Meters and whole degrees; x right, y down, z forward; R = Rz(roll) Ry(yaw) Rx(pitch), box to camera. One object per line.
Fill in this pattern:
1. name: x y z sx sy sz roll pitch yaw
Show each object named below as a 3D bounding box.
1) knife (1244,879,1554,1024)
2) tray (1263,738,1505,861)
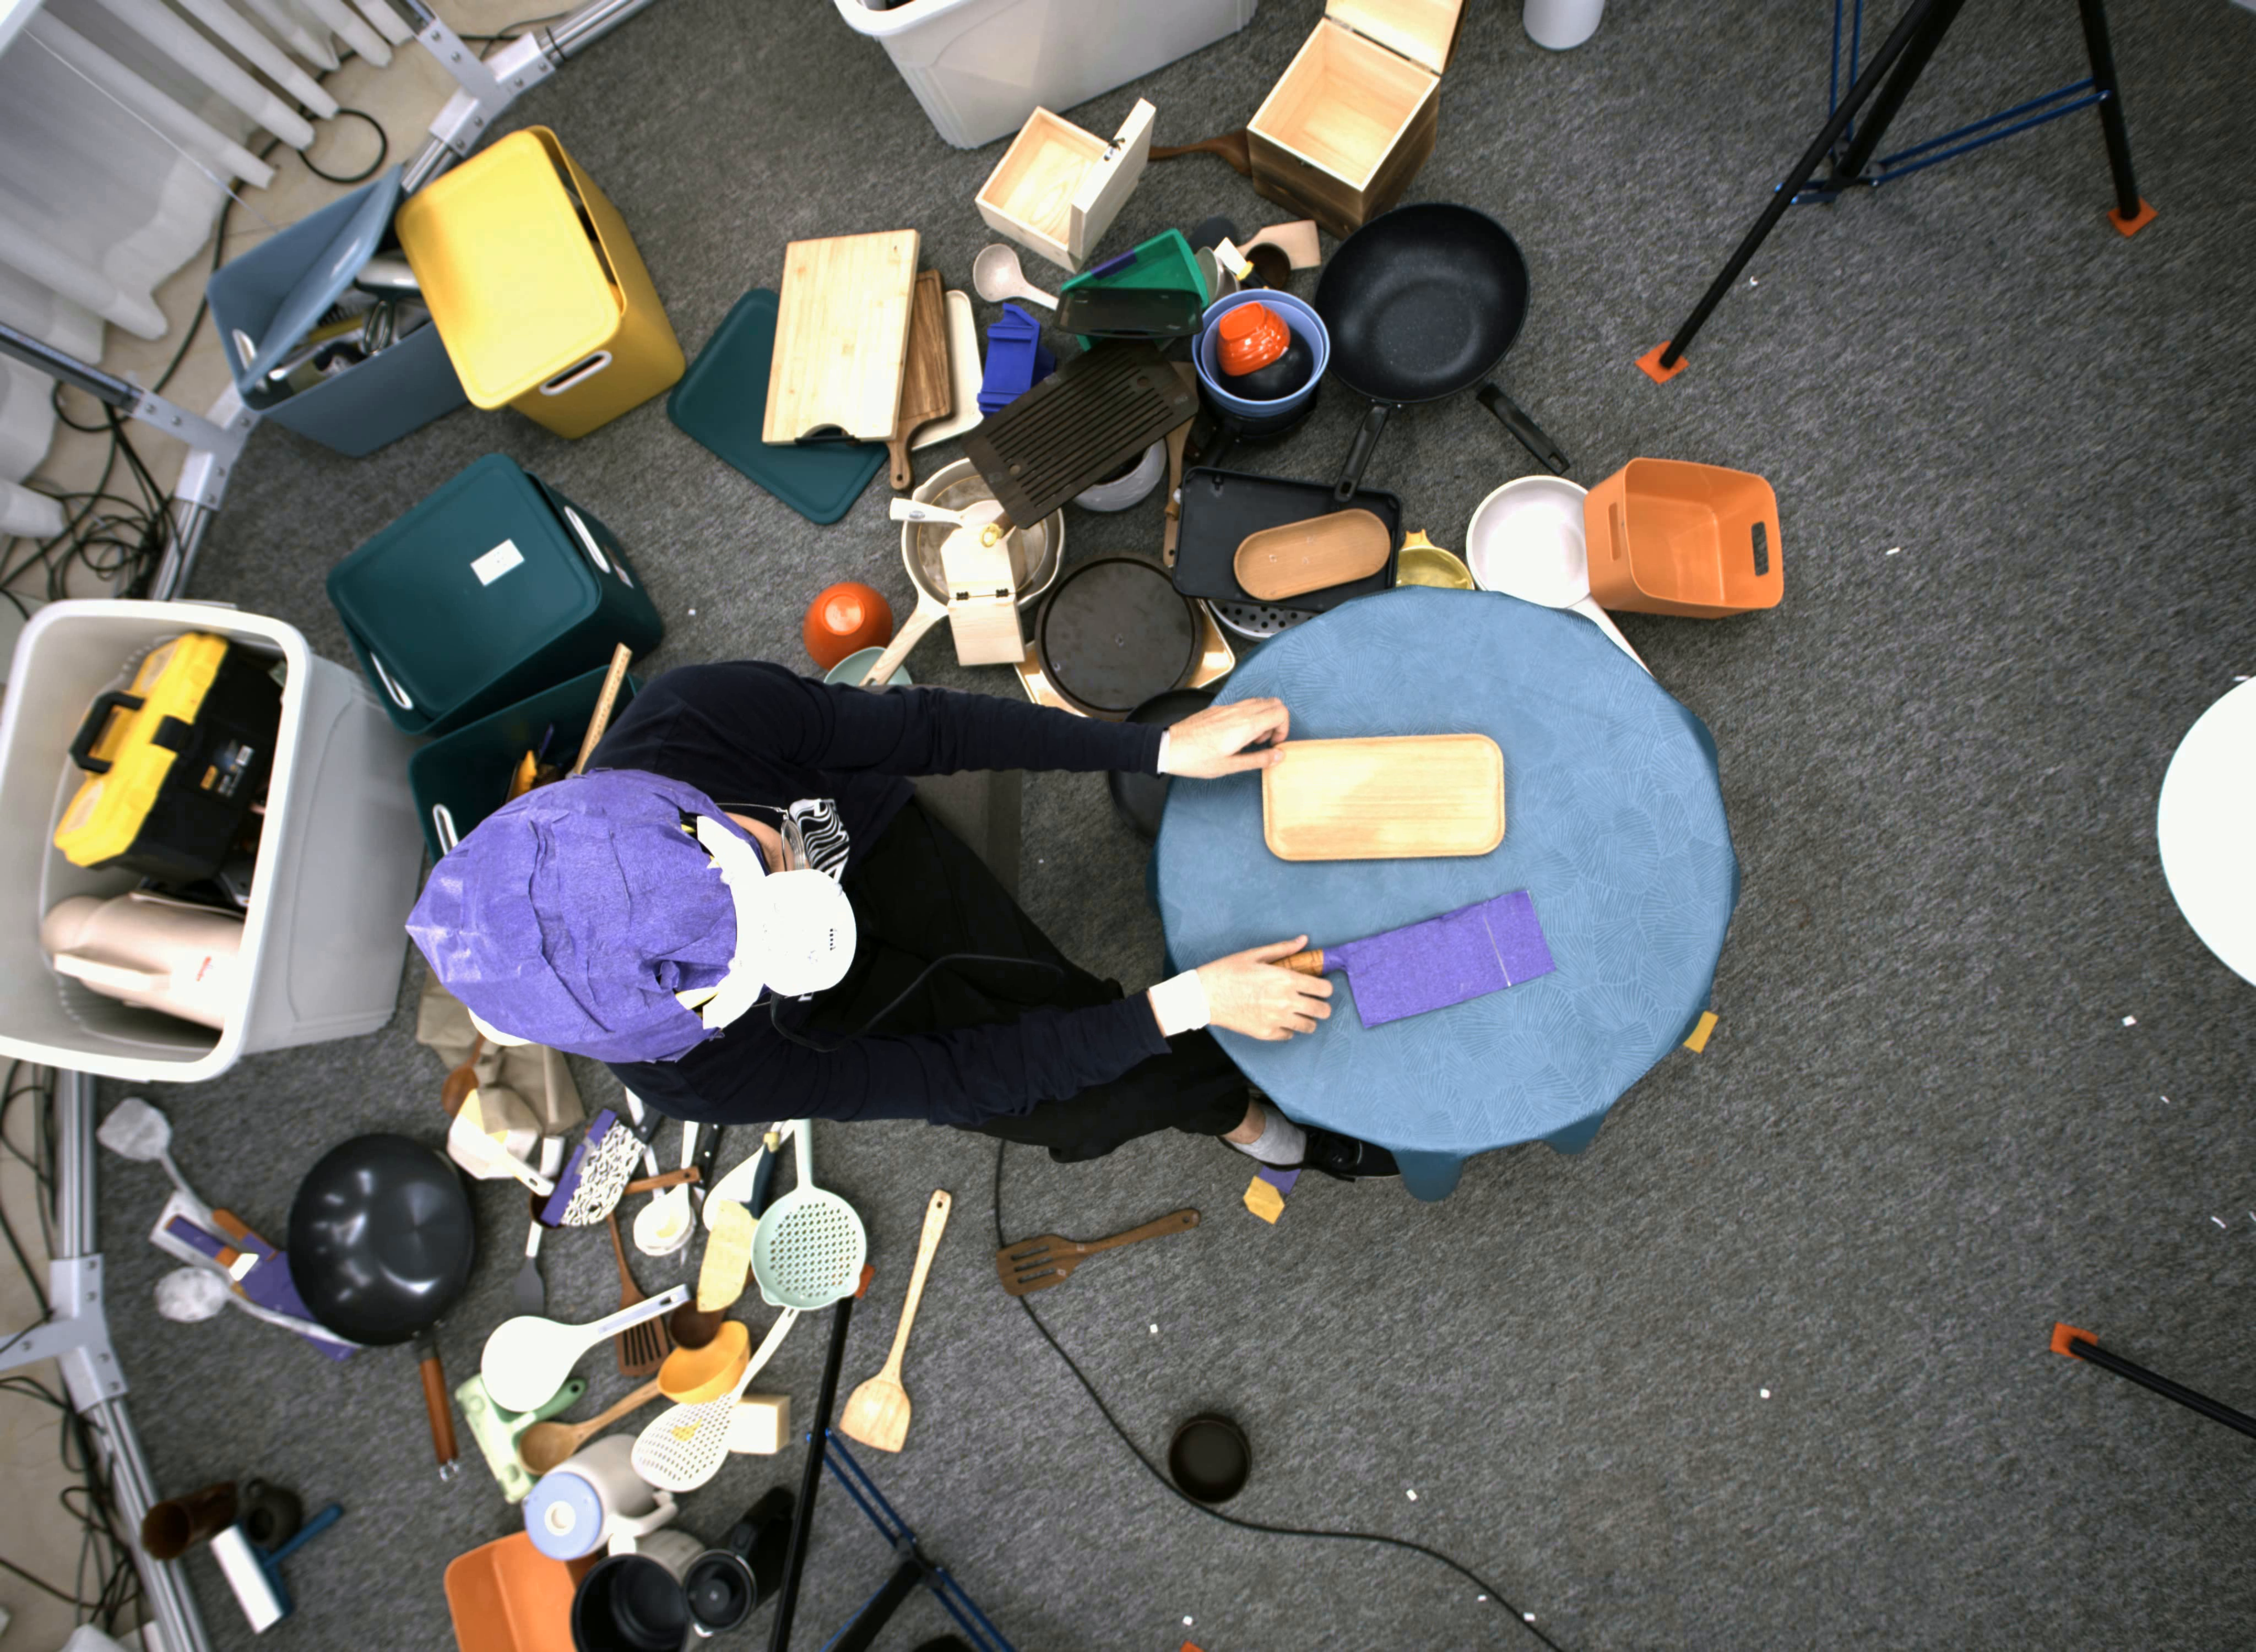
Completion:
1. knife: 0.282 0.149 1.440 0.317 0.032 0.103 -19 83 9
2. tray: 0.268 -0.029 1.451 0.251 0.022 0.131 0 96 10
